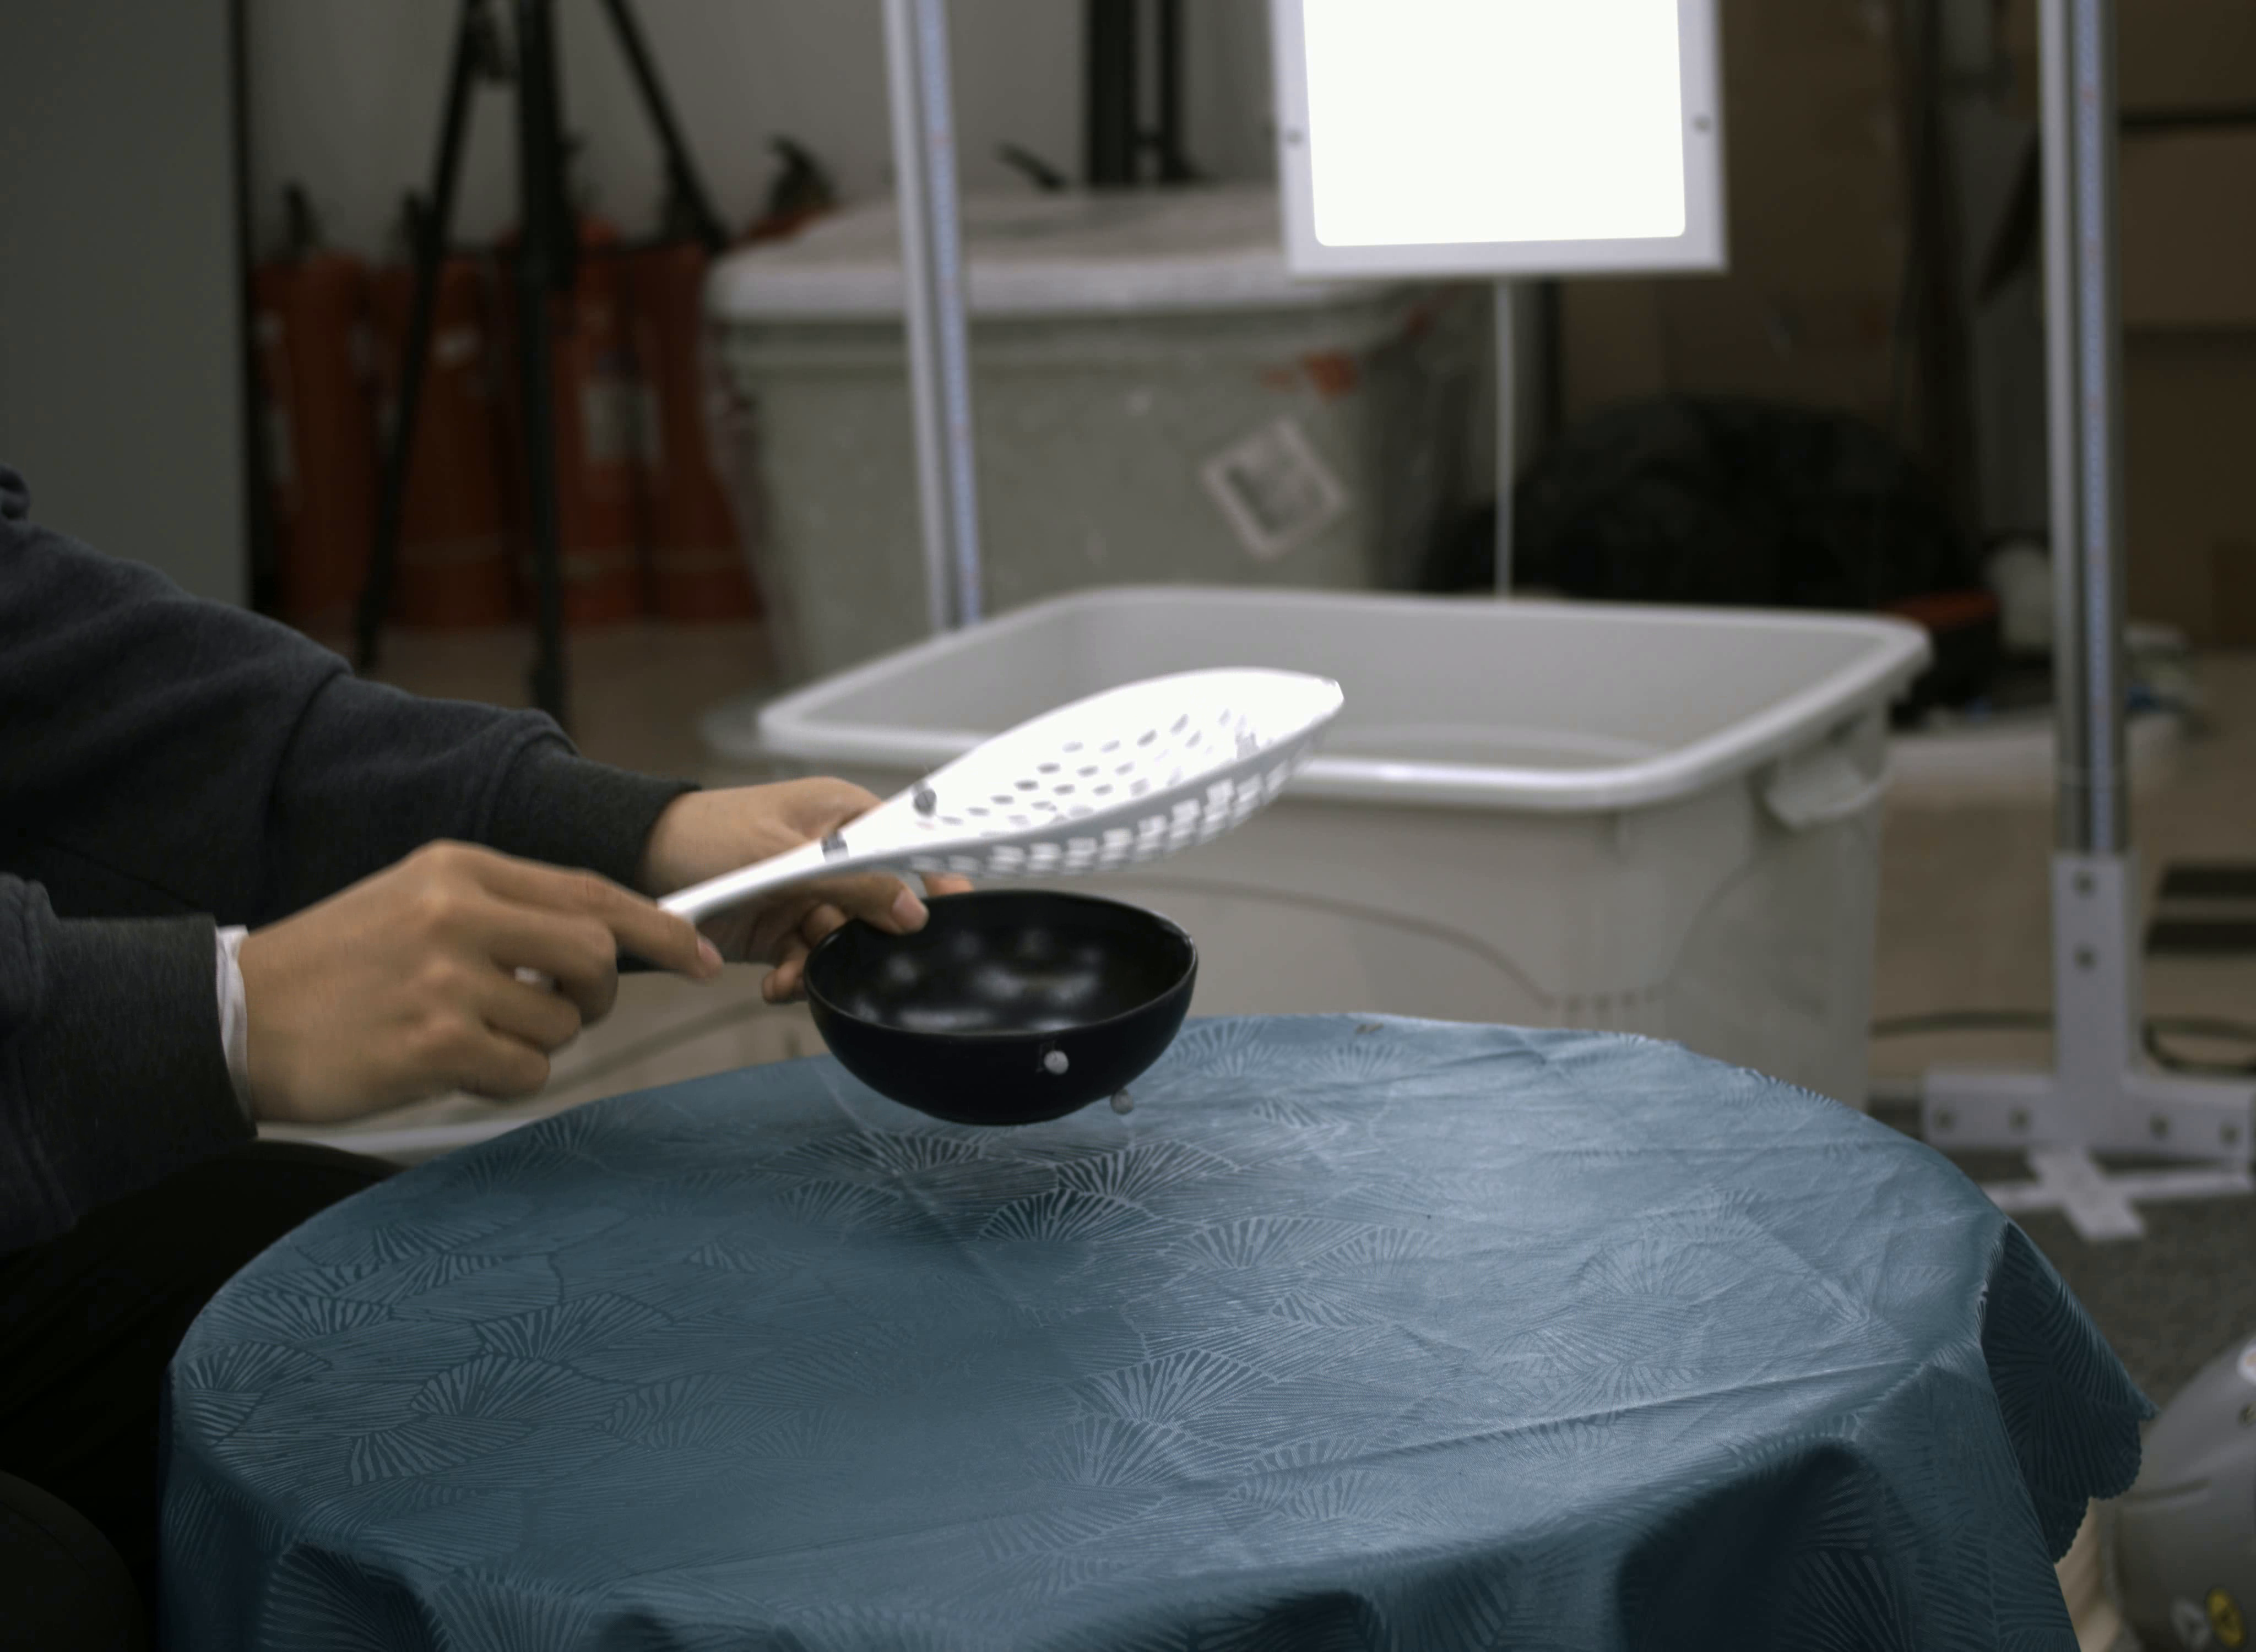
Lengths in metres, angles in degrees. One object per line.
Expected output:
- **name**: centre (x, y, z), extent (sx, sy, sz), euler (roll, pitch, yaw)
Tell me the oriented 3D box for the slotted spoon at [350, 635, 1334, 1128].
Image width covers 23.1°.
- **slotted spoon**: centre (-0.091, 0.015, 1.723), extent (0.341, 0.050, 0.139), euler (-19, 16, -21)
